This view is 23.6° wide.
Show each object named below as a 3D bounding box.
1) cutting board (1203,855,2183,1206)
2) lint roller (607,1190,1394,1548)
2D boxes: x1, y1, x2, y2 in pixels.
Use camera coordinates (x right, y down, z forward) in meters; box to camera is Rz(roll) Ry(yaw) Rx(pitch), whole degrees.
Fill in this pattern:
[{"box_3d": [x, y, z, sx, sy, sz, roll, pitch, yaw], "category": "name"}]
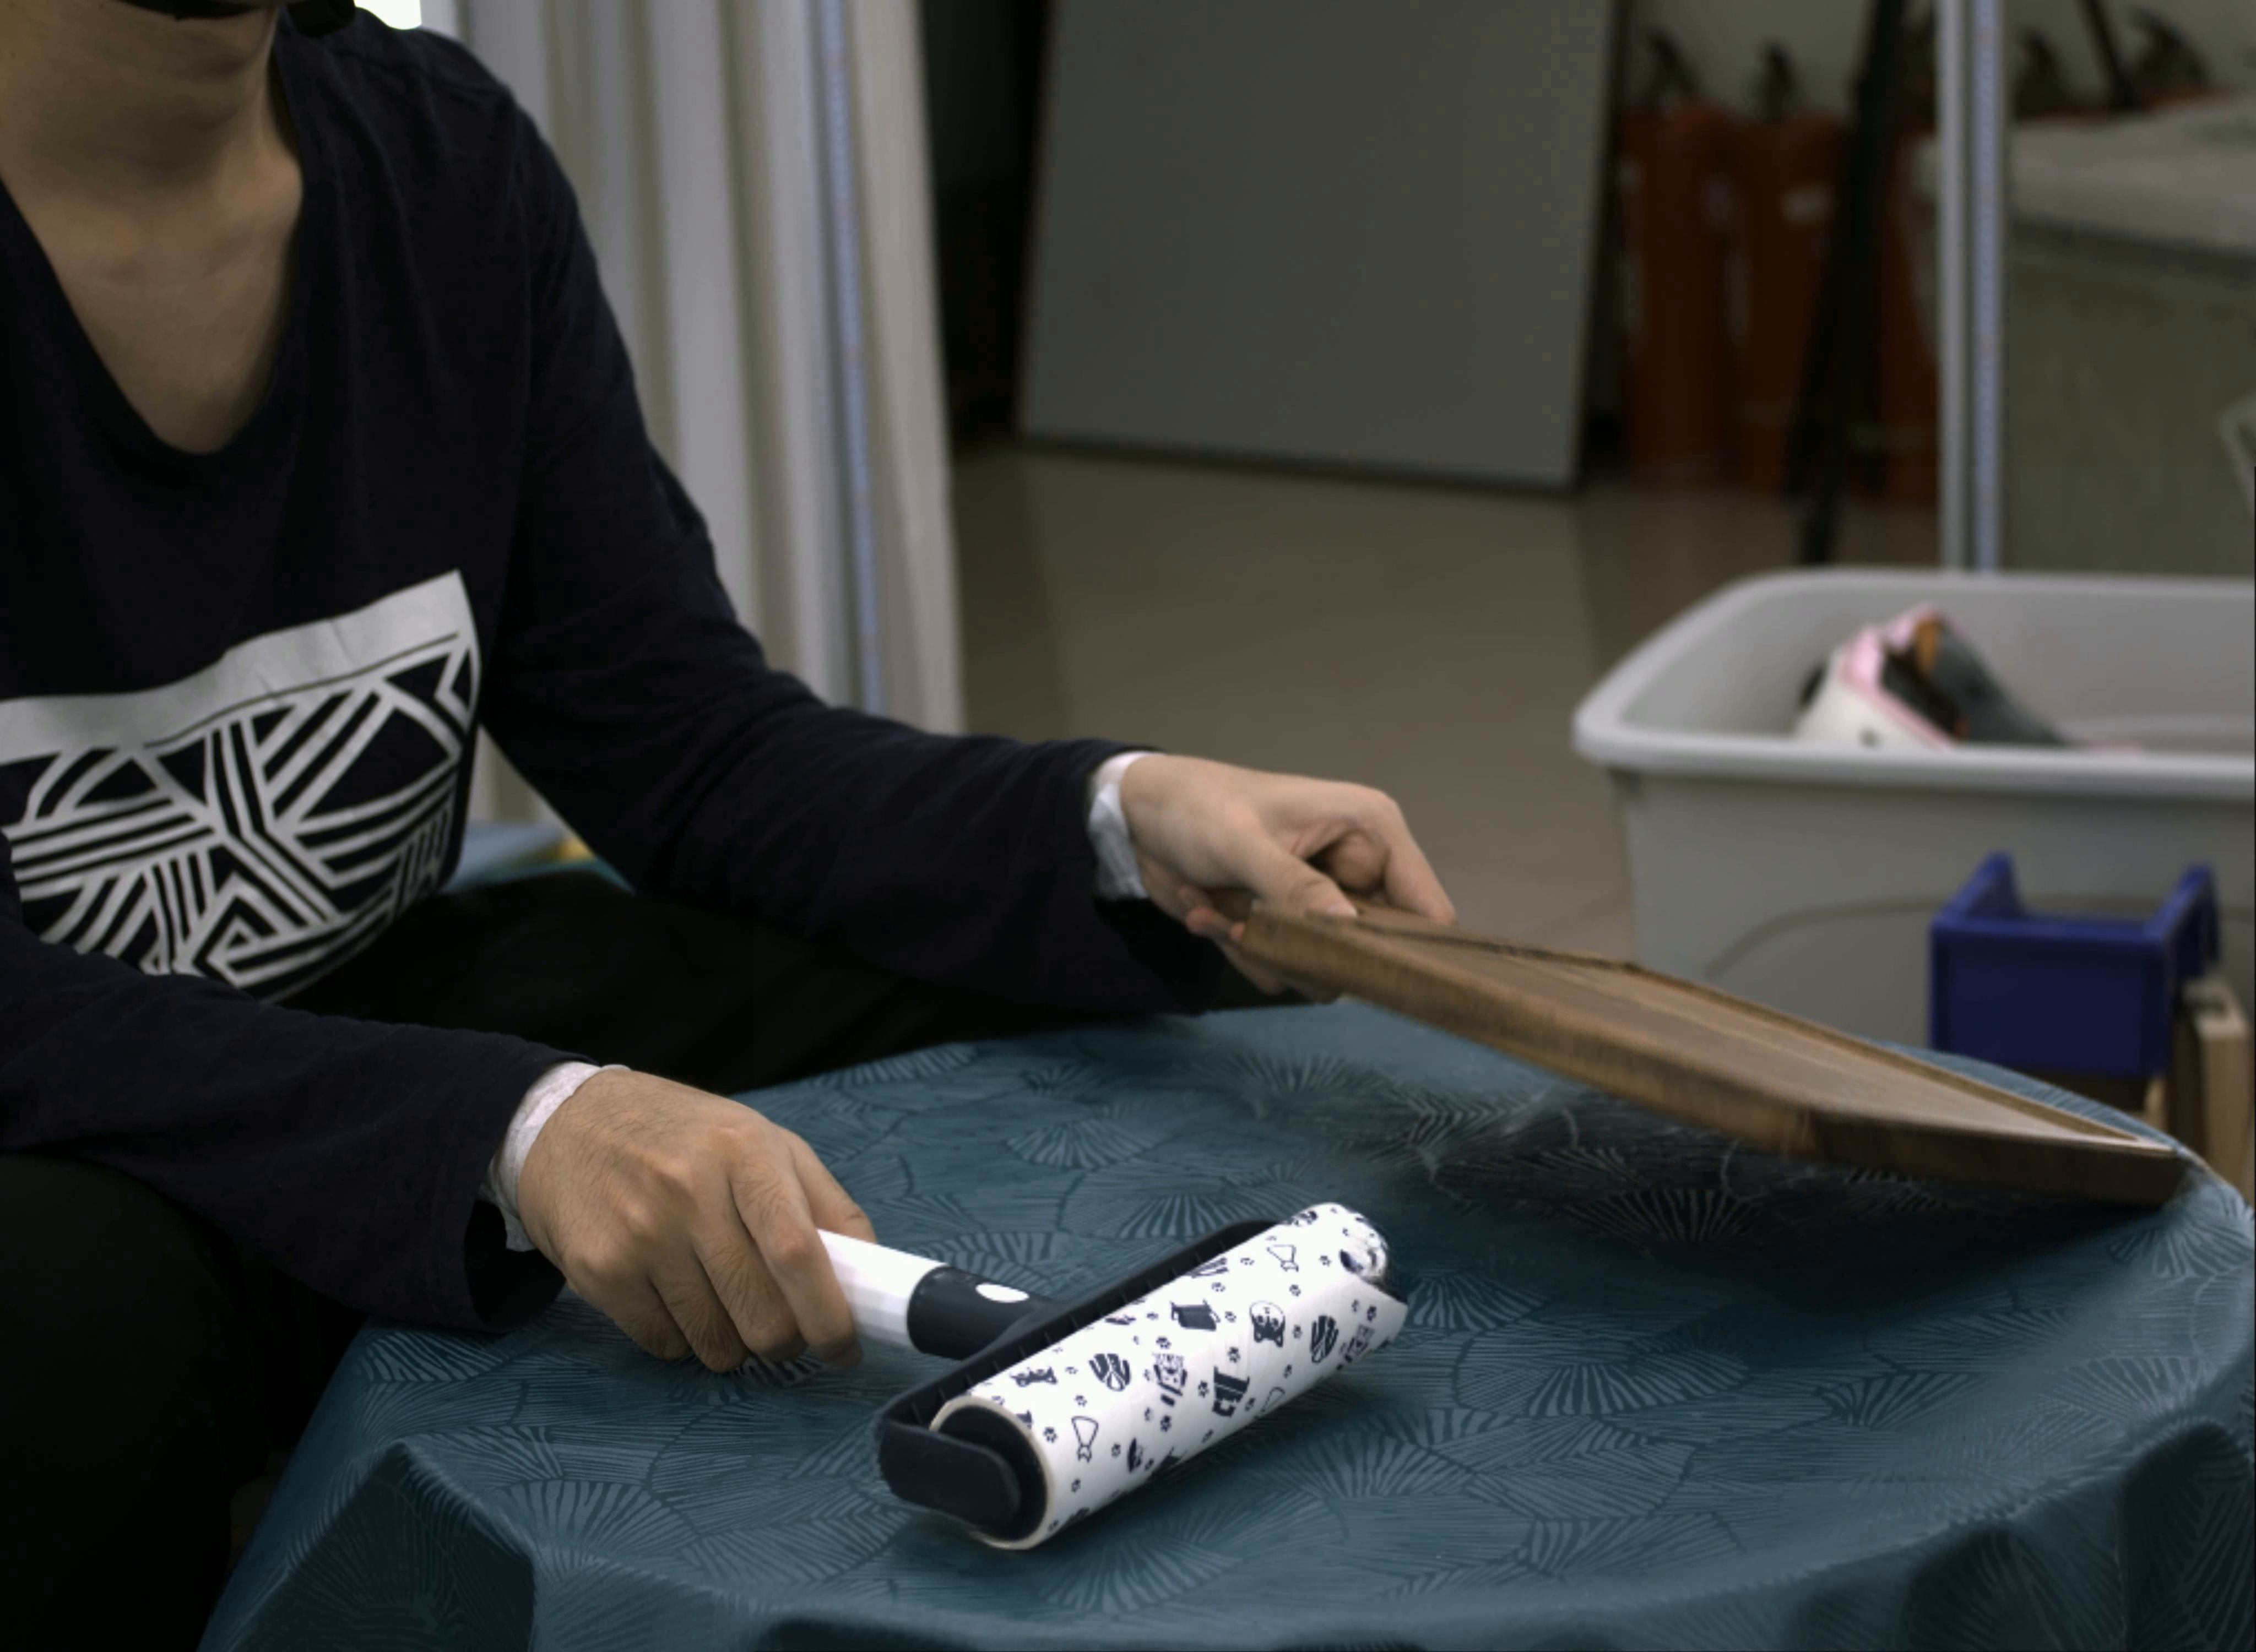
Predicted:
[{"box_3d": [0.151, 0.062, 1.751, 0.196, 0.023, 0.356, 7, 9, -43], "category": "cutting board"}, {"box_3d": [-0.065, 0.139, 1.585, 0.249, 0.051, 0.173, 10, 24, 40], "category": "lint roller"}]
